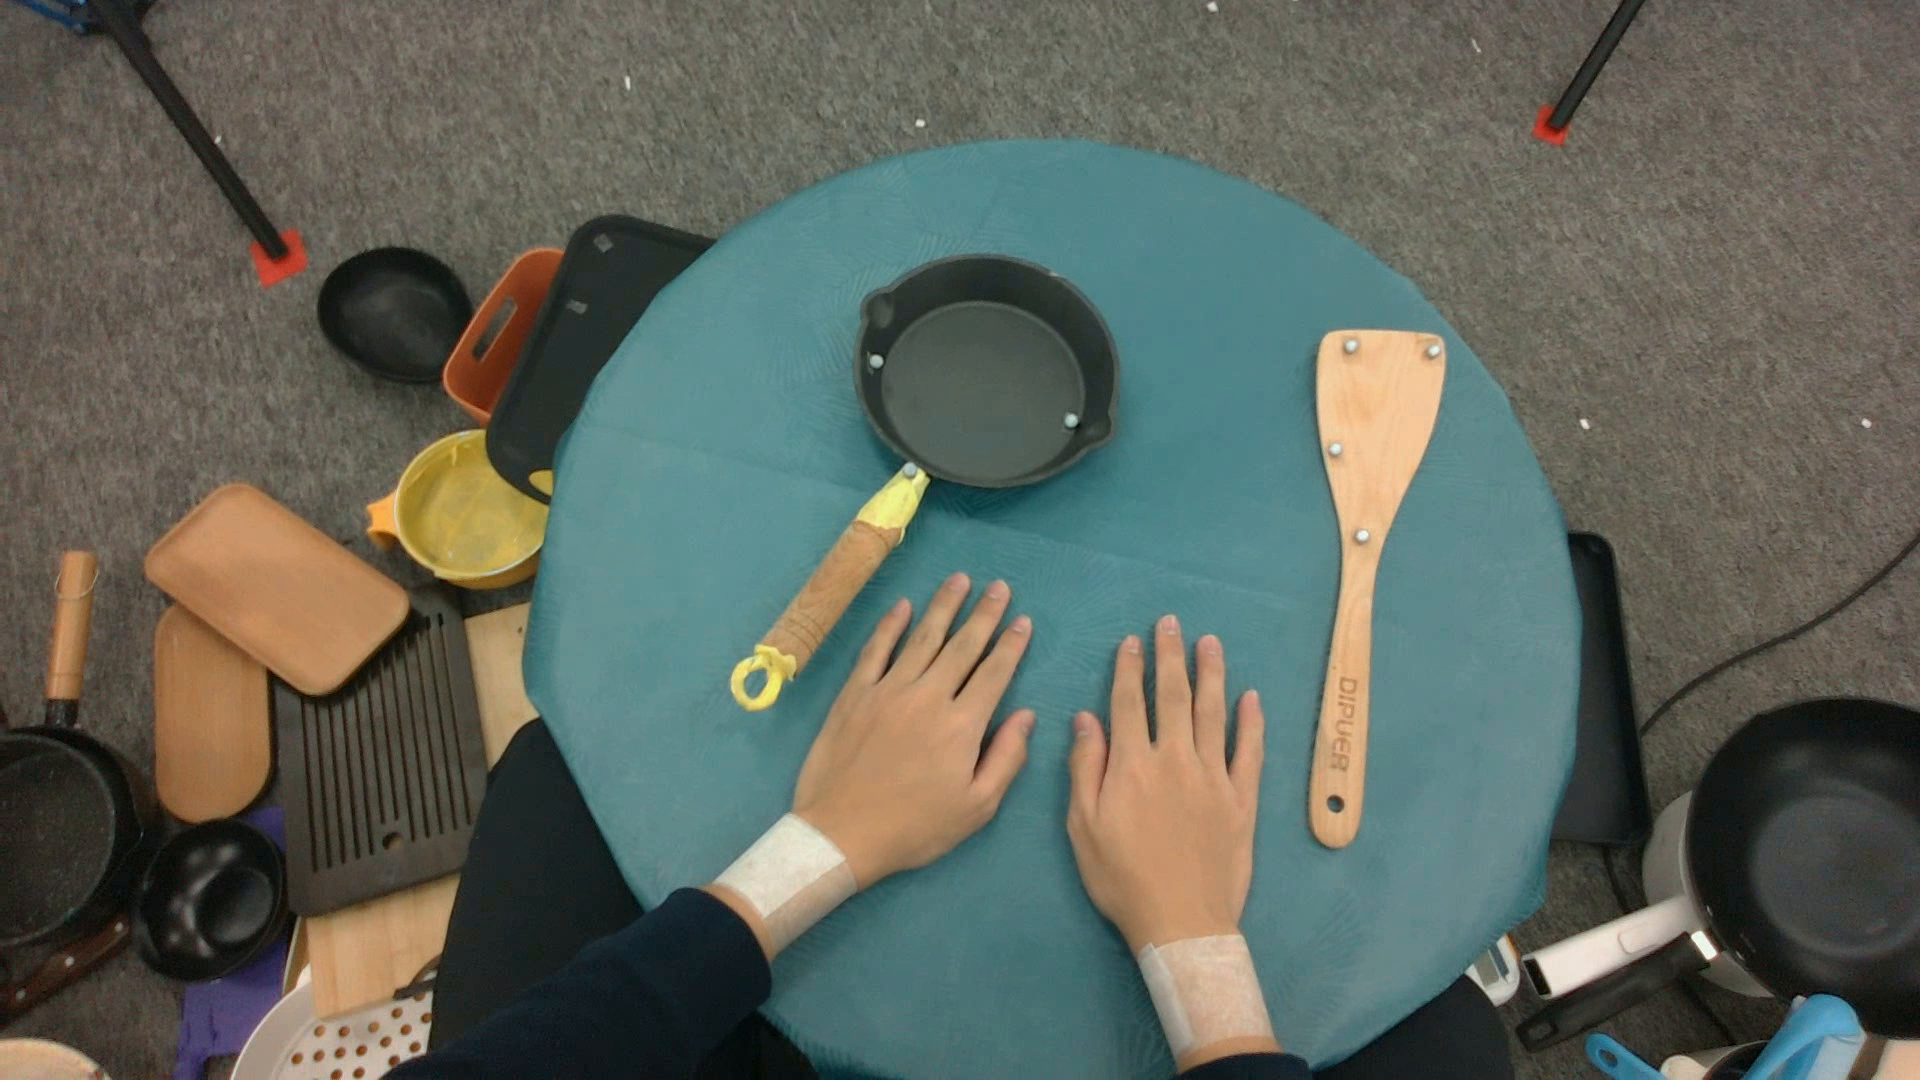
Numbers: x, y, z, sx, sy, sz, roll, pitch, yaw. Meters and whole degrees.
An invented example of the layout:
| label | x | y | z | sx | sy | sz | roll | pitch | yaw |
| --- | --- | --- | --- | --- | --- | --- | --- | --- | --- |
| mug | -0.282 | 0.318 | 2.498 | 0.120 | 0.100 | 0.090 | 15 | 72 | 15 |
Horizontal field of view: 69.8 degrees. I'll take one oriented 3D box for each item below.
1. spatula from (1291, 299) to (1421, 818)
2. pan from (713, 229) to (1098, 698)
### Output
| label | x | y | z | sx | sy | sz | roll | pitch | yaw |
| --- | --- | --- | --- | --- | --- | --- | --- | --- | --- |
| spatula | 0.220 | -0.002 | 0.799 | 0.080 | 0.016 | 0.329 | 11 | 68 | 0 |
| pan | -0.041 | -0.045 | 0.775 | 0.169 | 0.049 | 0.325 | 31 | 67 | 7 |
